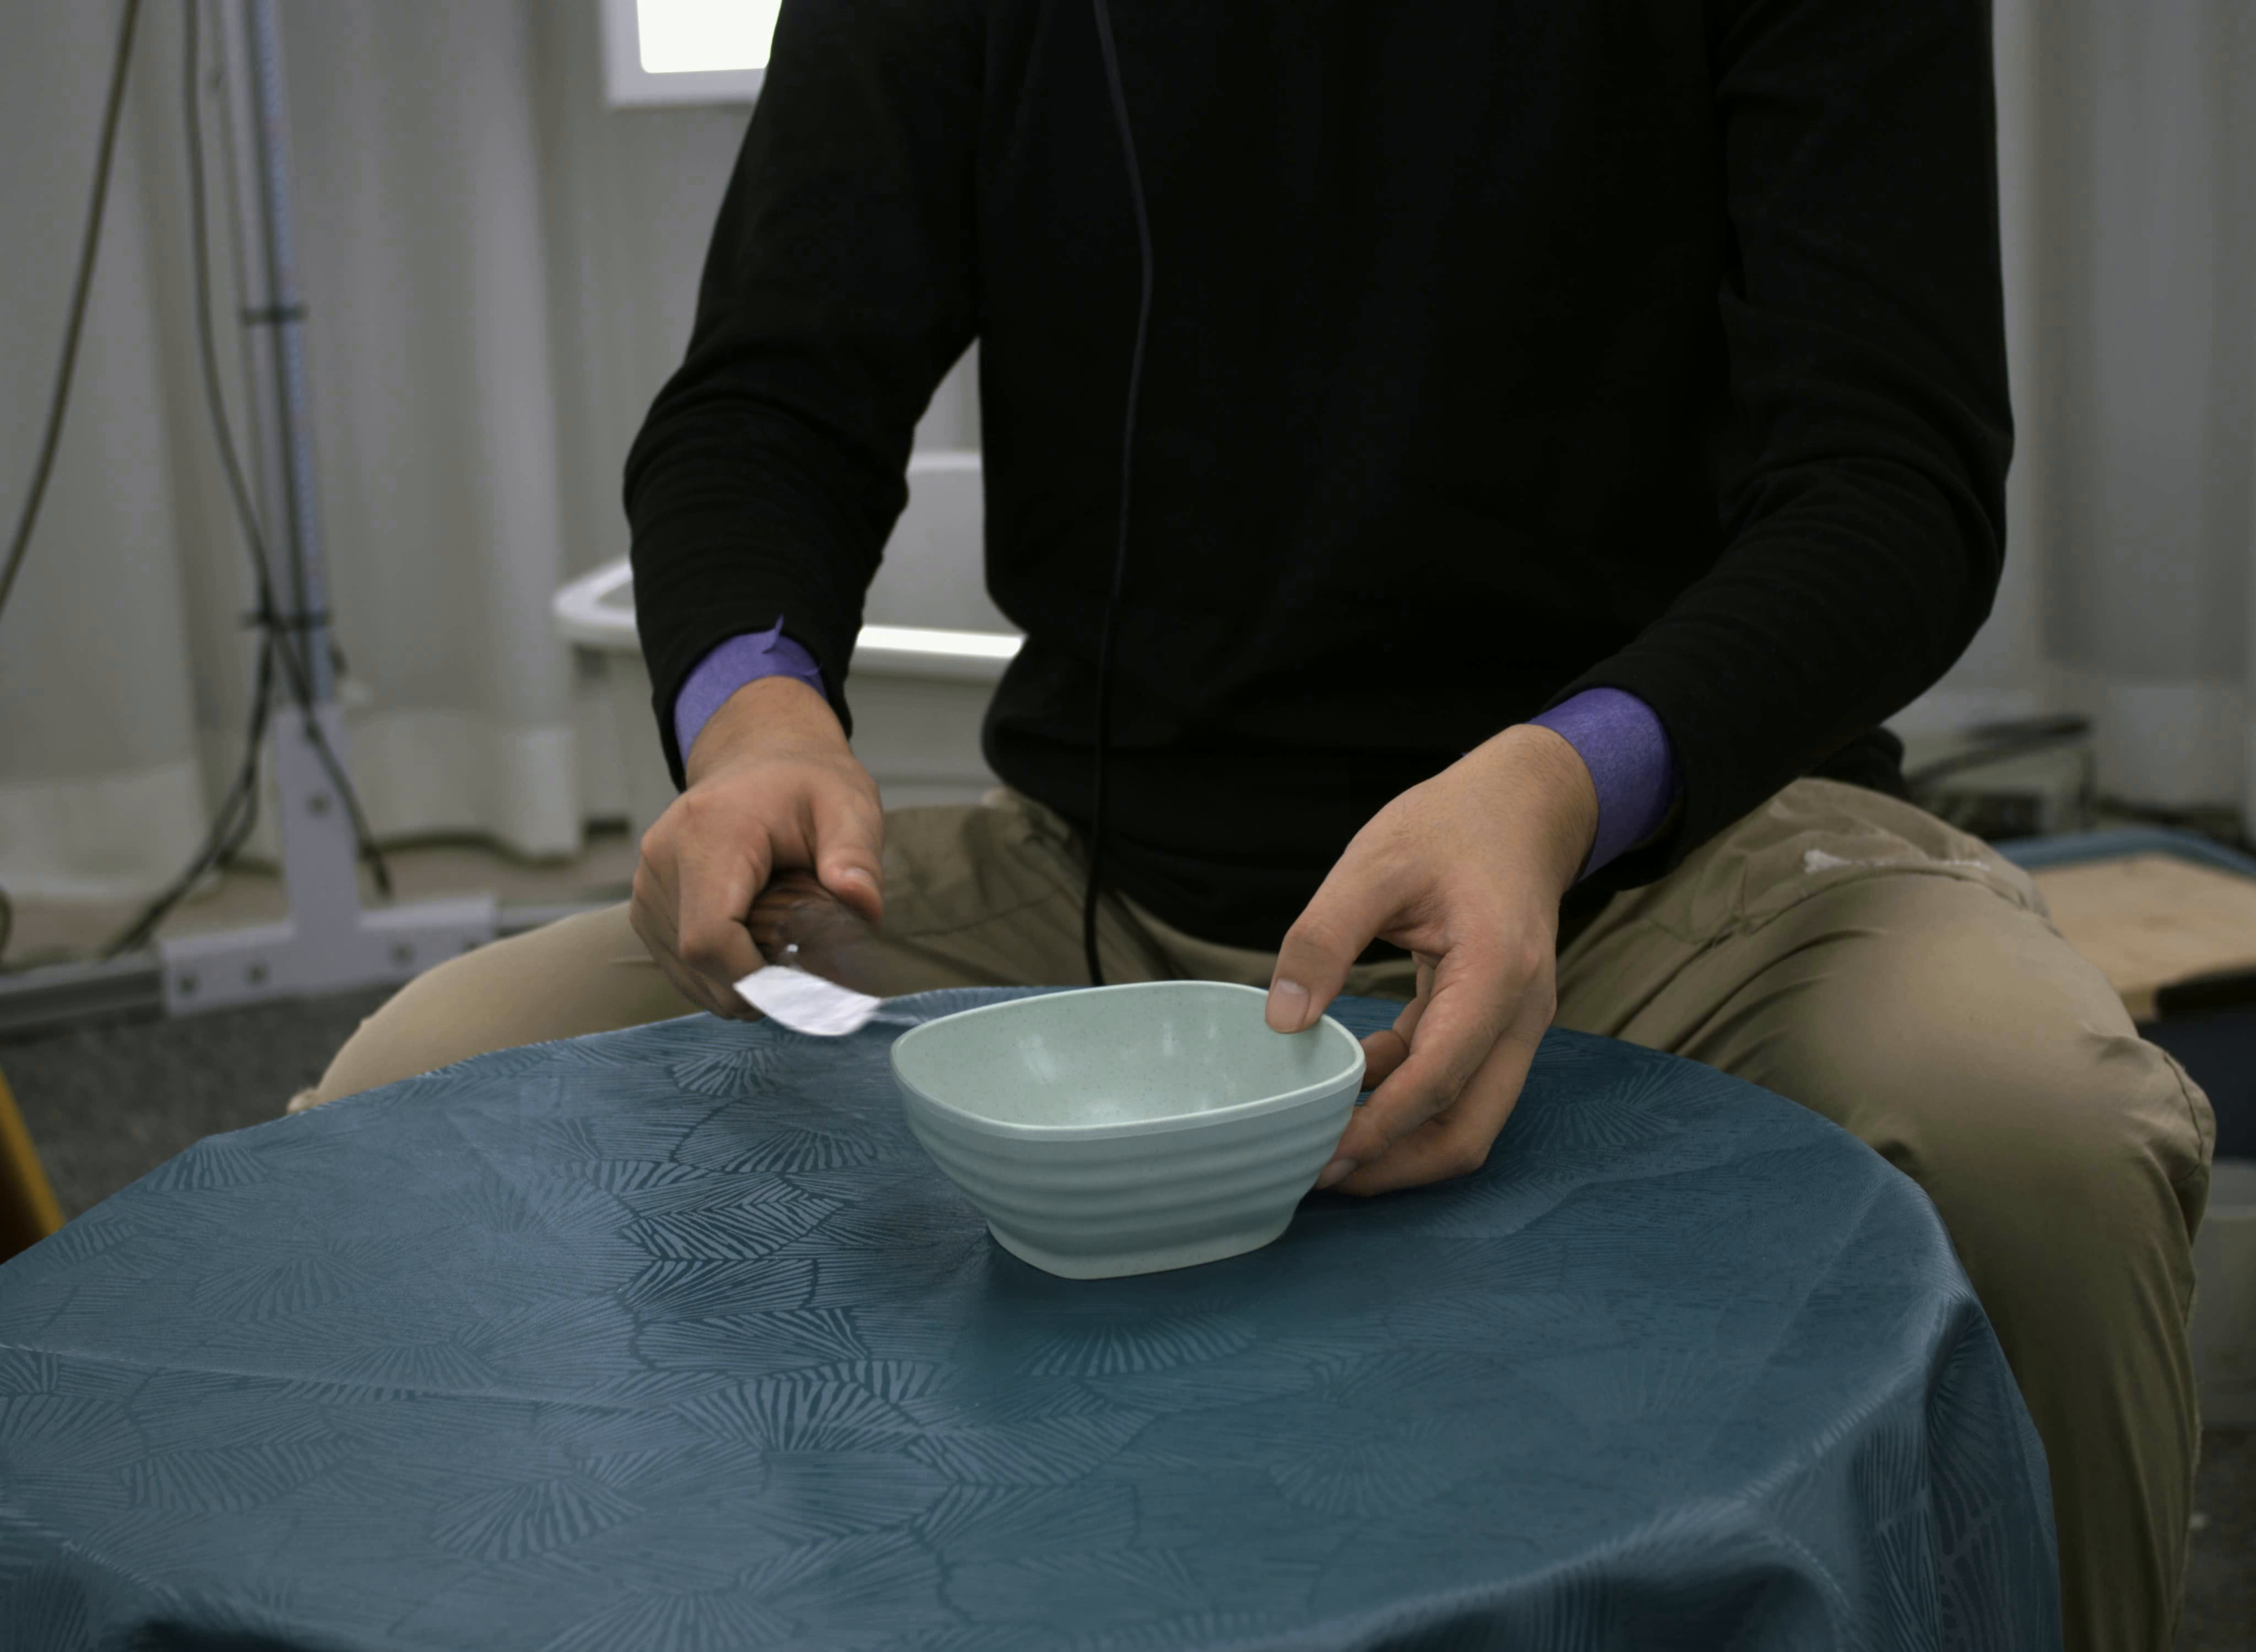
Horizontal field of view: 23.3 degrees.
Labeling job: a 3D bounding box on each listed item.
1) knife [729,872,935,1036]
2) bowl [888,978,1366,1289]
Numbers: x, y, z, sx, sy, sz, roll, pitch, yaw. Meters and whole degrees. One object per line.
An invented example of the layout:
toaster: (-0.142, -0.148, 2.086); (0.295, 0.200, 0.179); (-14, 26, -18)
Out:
knife: (-0.096, 0.041, 1.706); (0.050, 0.020, 0.290); (-32, 11, -6)
bowl: (0.000, 0.097, 1.674); (0.151, 0.058, 0.152); (-2, 16, 0)
